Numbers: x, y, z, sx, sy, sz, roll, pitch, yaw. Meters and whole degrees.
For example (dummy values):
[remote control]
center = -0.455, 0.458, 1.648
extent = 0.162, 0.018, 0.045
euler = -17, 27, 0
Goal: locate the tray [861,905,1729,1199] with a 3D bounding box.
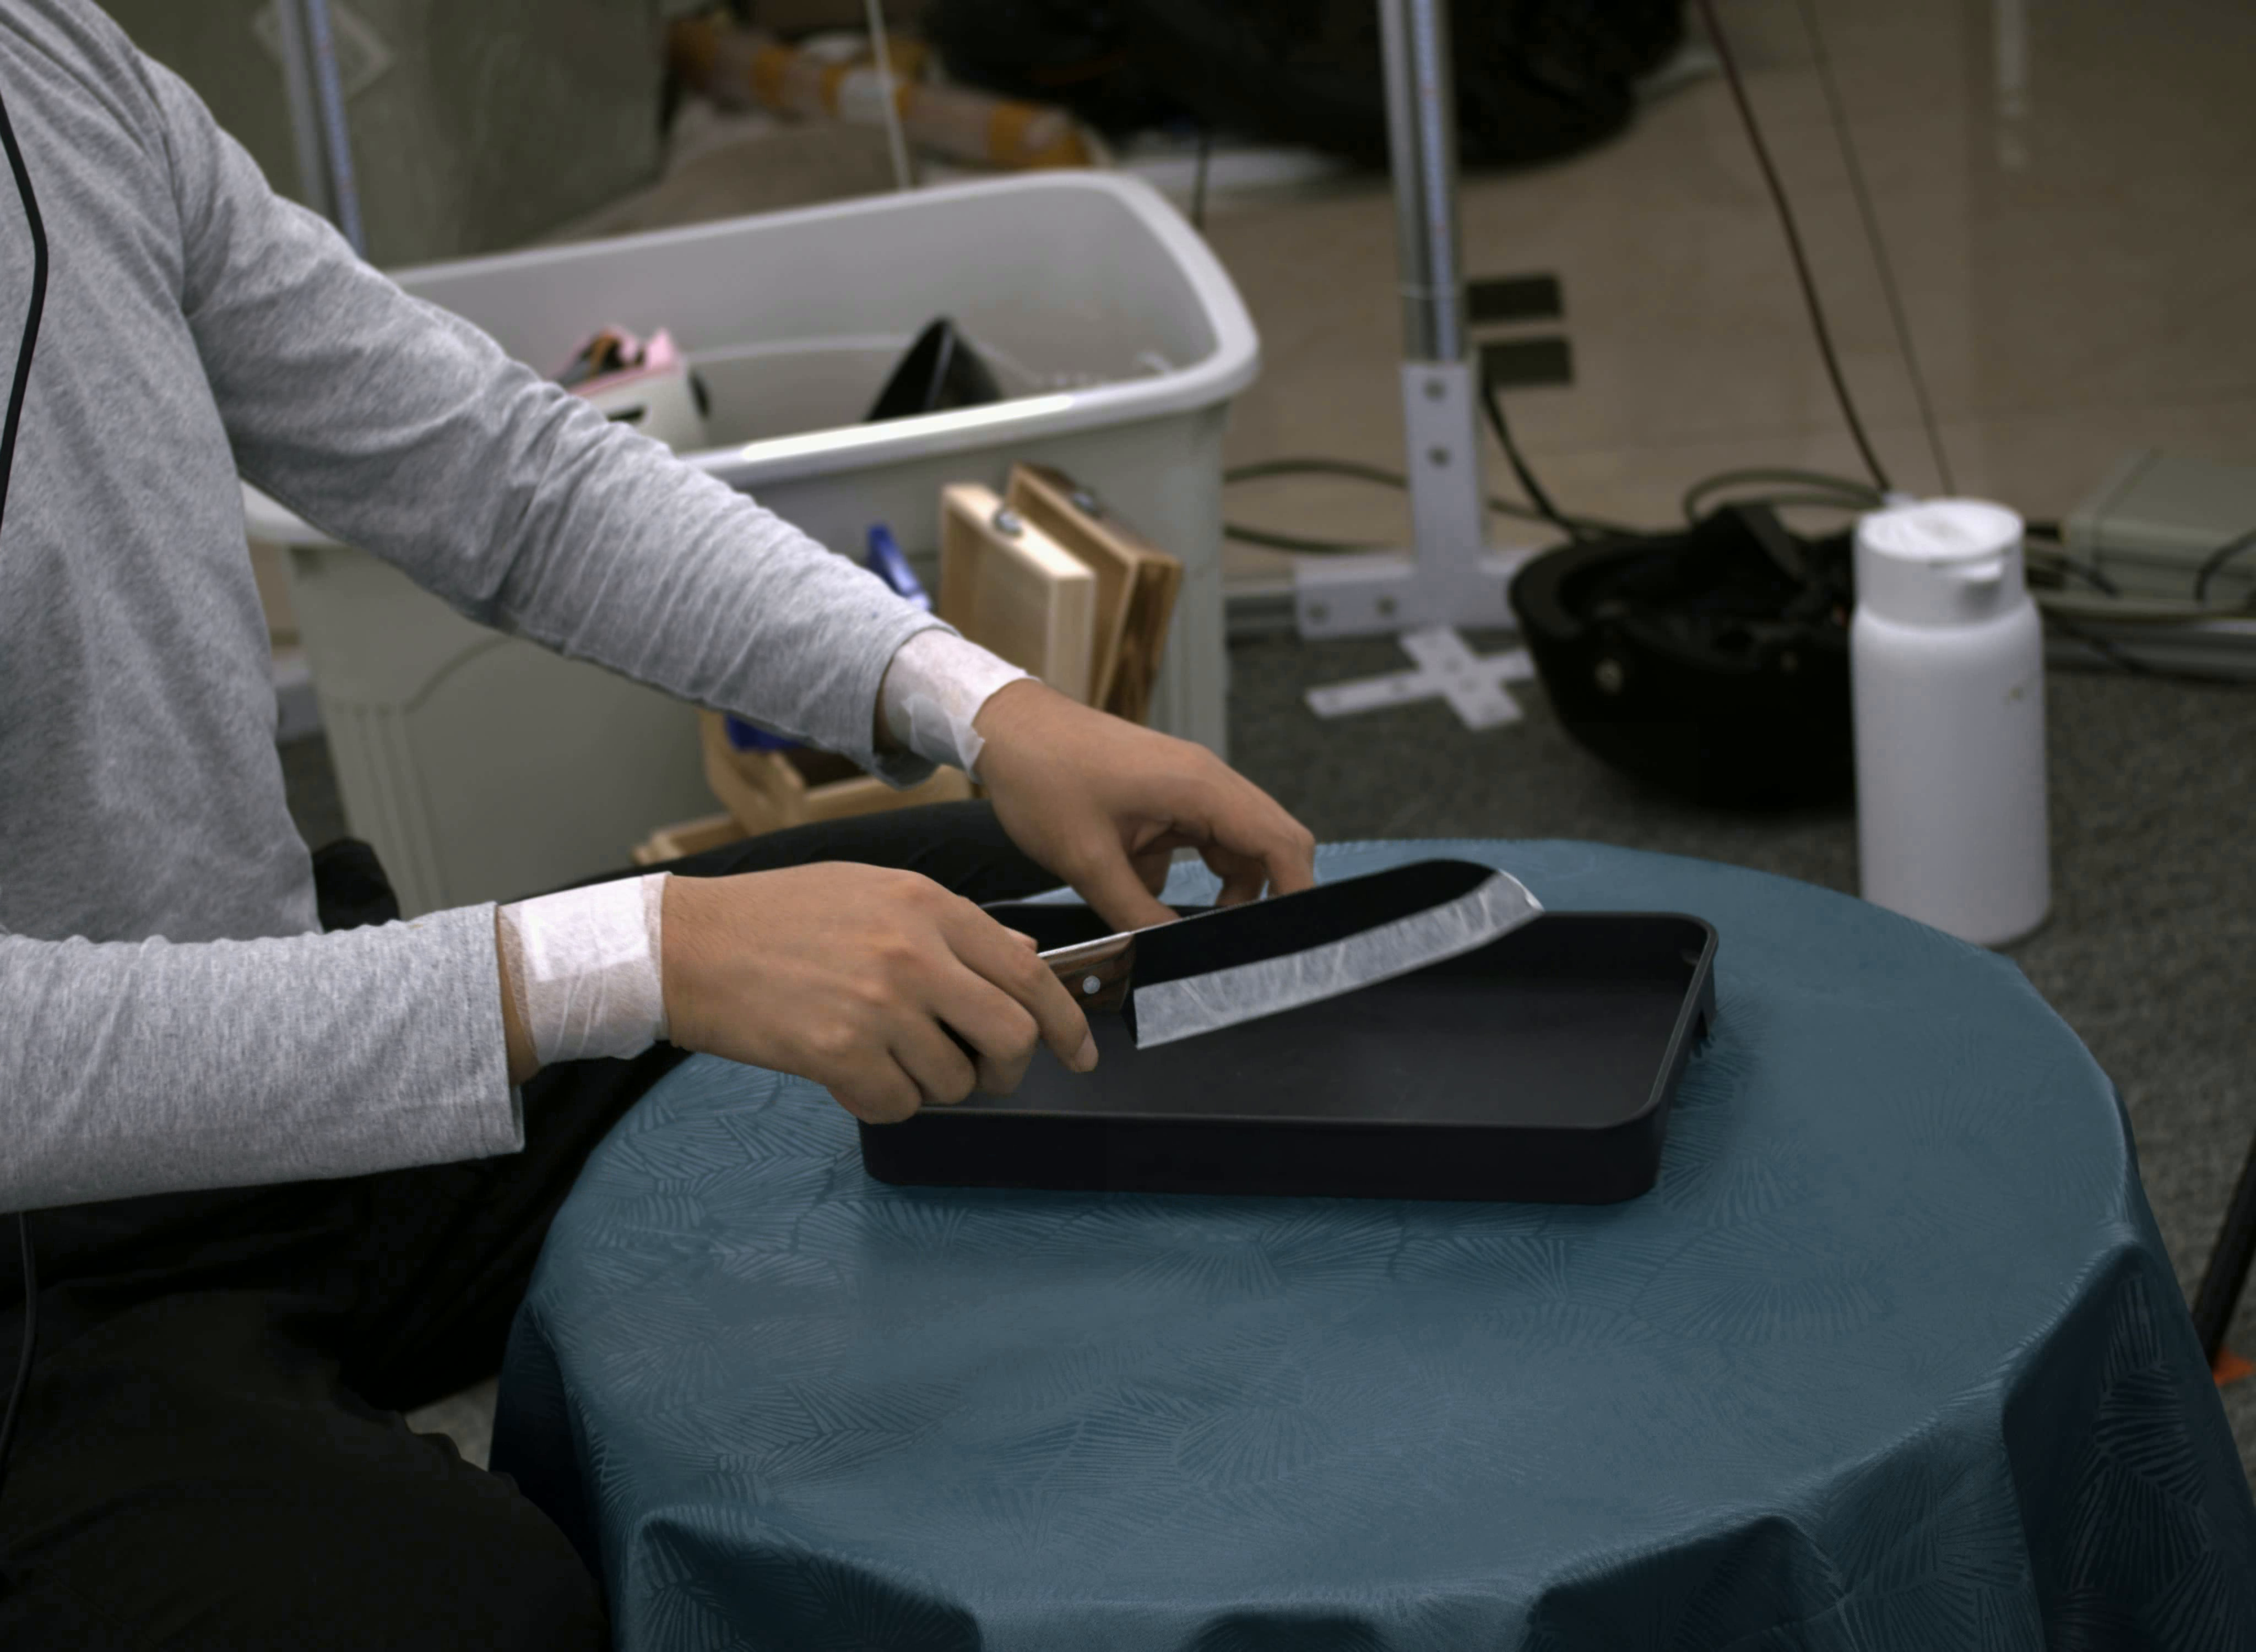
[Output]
[tray]
center = 0.068, 0.086, 2.206
extent = 0.317, 0.037, 0.181
euler = -1, 25, 14

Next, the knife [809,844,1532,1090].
[knife]
center = 0.019, 0.051, 2.046
extent = 0.288, 0.051, 0.020
euler = -13, 28, -22
